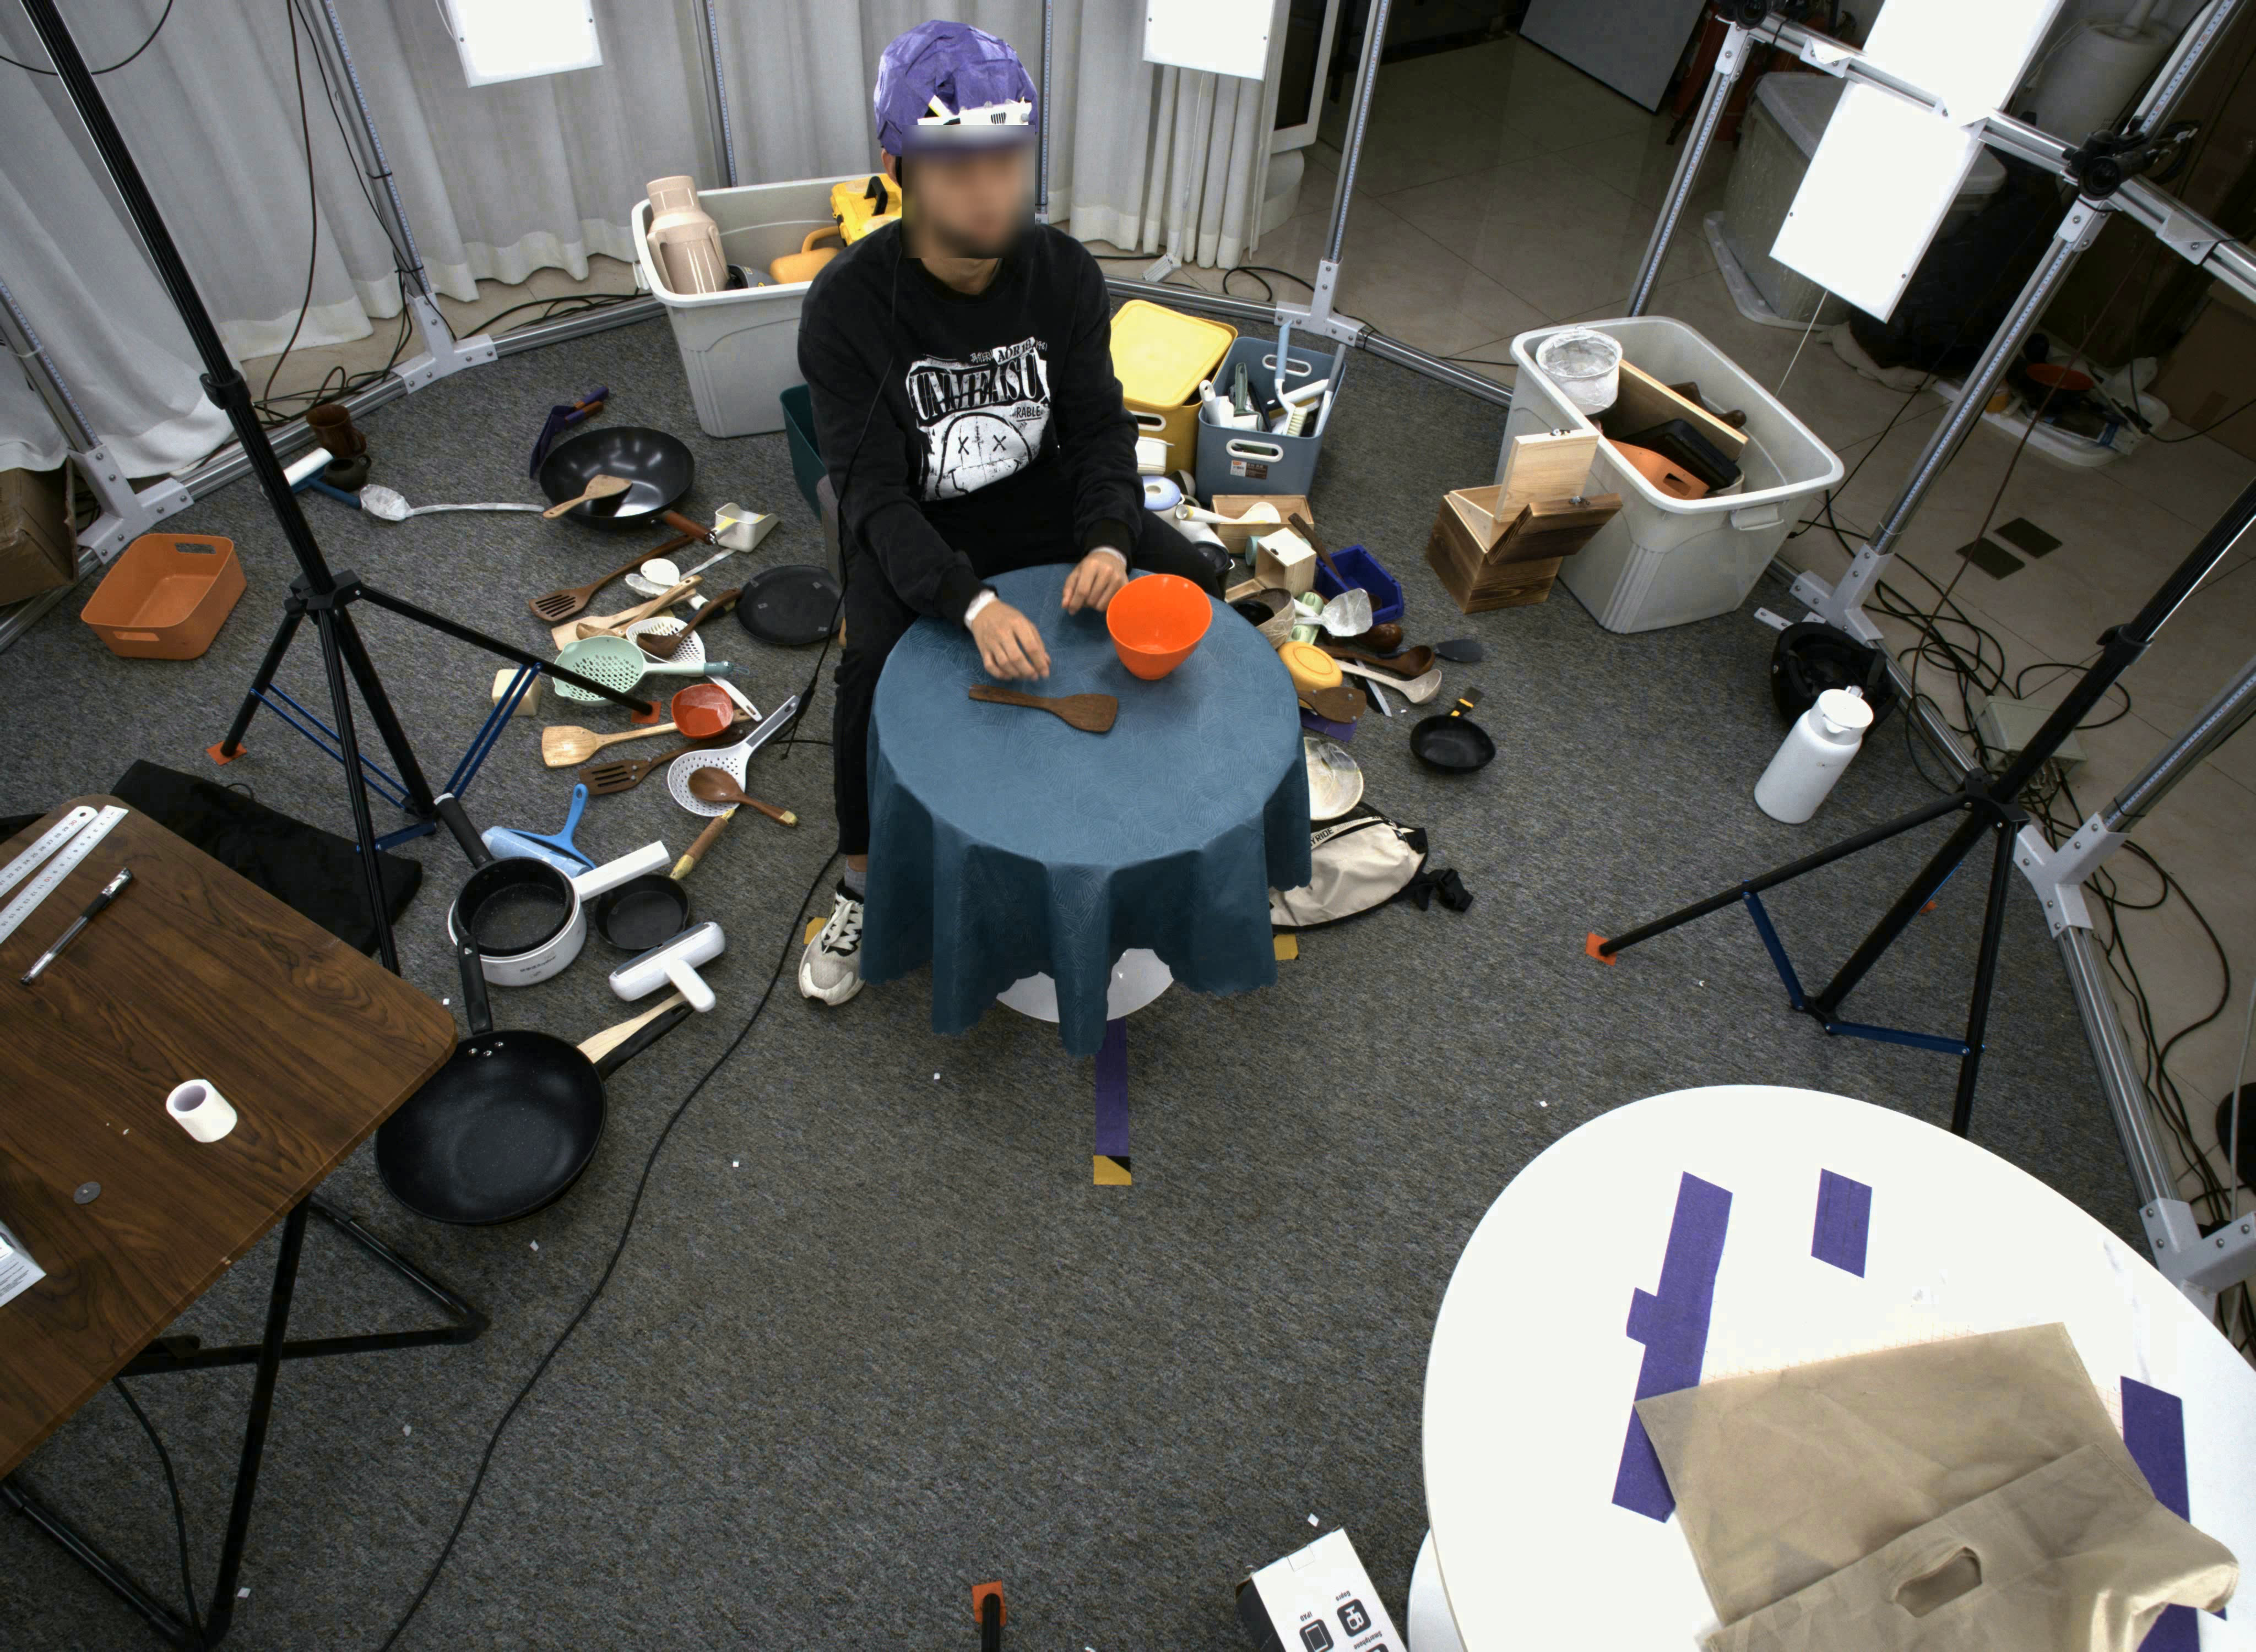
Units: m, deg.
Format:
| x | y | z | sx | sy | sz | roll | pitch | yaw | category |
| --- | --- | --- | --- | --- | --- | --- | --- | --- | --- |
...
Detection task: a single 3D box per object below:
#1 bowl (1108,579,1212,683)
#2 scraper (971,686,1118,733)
| x | y | z | sx | sy | sz | roll | pitch | yaw | category |
| --- | --- | --- | --- | --- | --- | --- | --- | --- | --- |
| 0.043 | -0.272 | 1.859 | 0.148 | 0.102 | 0.152 | 2 | 49 | -3 | bowl |
| -0.119 | -0.172 | 1.821 | 0.211 | 0.010 | 0.077 | 10 | 48 | 6 | scraper |
